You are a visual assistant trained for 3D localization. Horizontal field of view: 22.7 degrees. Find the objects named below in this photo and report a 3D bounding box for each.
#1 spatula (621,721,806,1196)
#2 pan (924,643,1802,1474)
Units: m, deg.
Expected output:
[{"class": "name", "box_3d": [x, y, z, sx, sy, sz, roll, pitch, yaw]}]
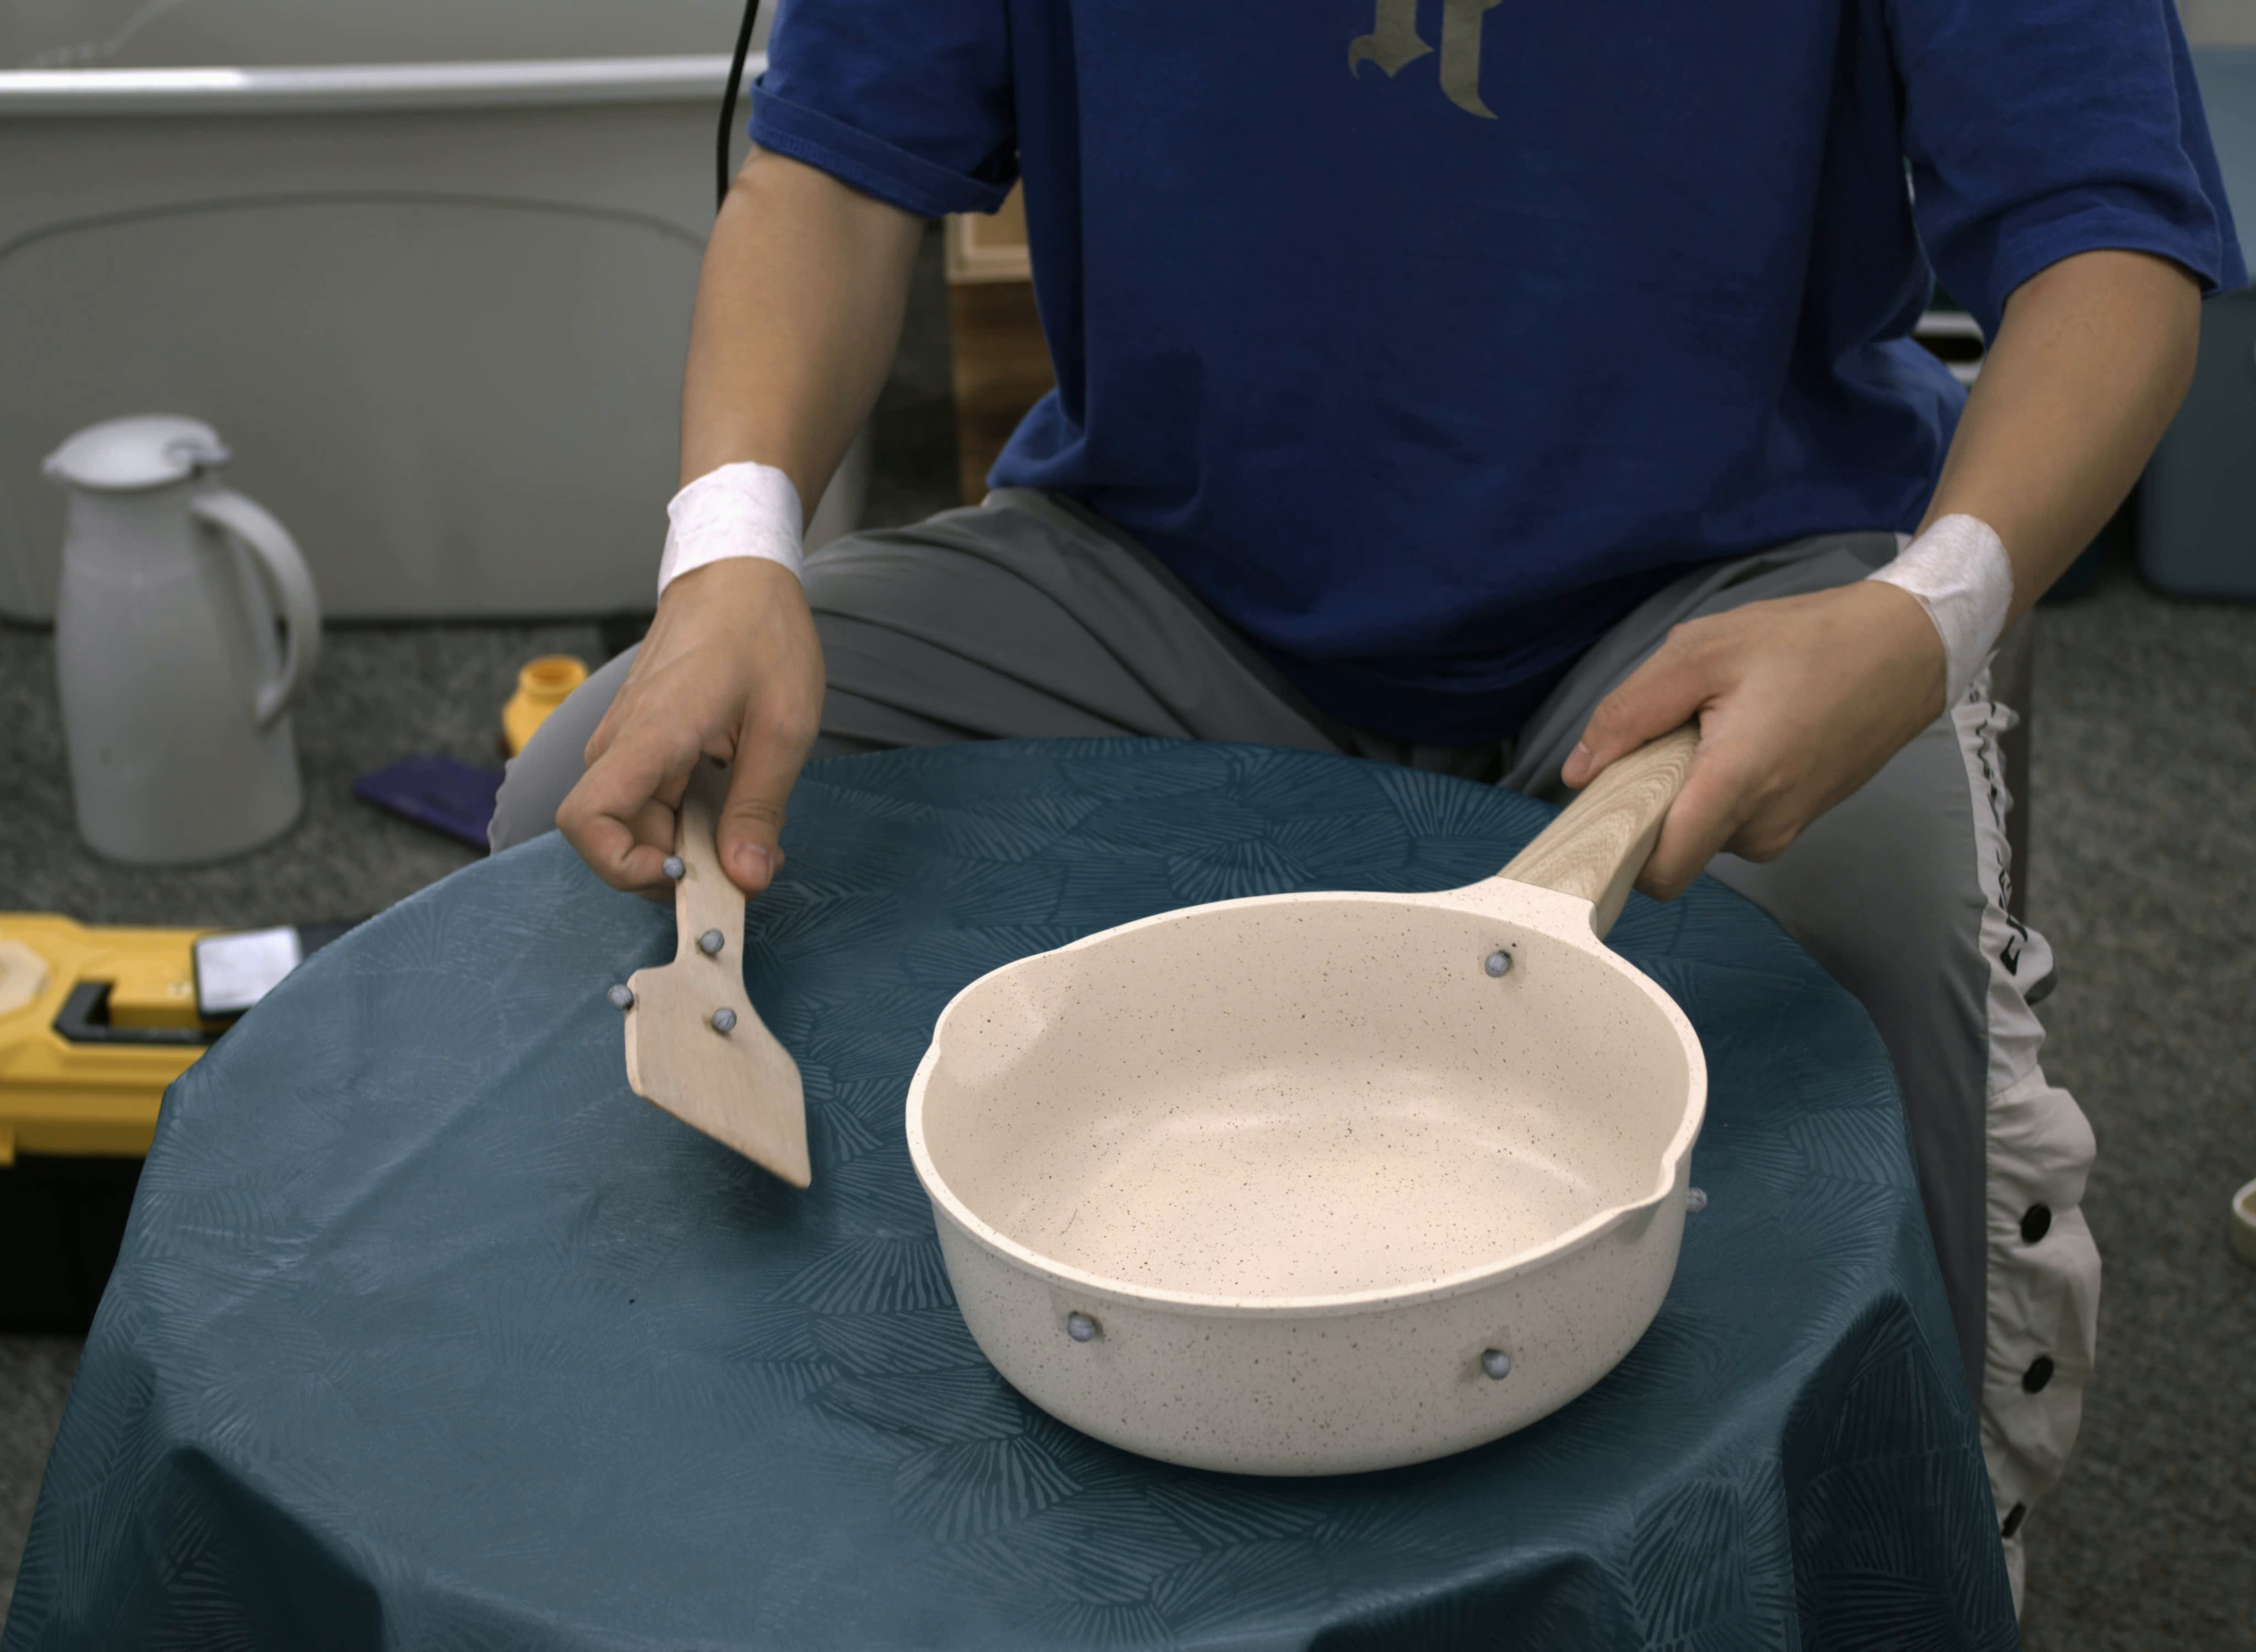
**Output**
[{"class": "spatula", "box_3d": [-0.145, 0.037, 1.962, 0.072, 0.010, 0.297, 32, 22, -19]}, {"class": "pan", "box_3d": [0.114, 0.072, 1.835, 0.262, 0.101, 0.441, 12, 31, 32]}]
